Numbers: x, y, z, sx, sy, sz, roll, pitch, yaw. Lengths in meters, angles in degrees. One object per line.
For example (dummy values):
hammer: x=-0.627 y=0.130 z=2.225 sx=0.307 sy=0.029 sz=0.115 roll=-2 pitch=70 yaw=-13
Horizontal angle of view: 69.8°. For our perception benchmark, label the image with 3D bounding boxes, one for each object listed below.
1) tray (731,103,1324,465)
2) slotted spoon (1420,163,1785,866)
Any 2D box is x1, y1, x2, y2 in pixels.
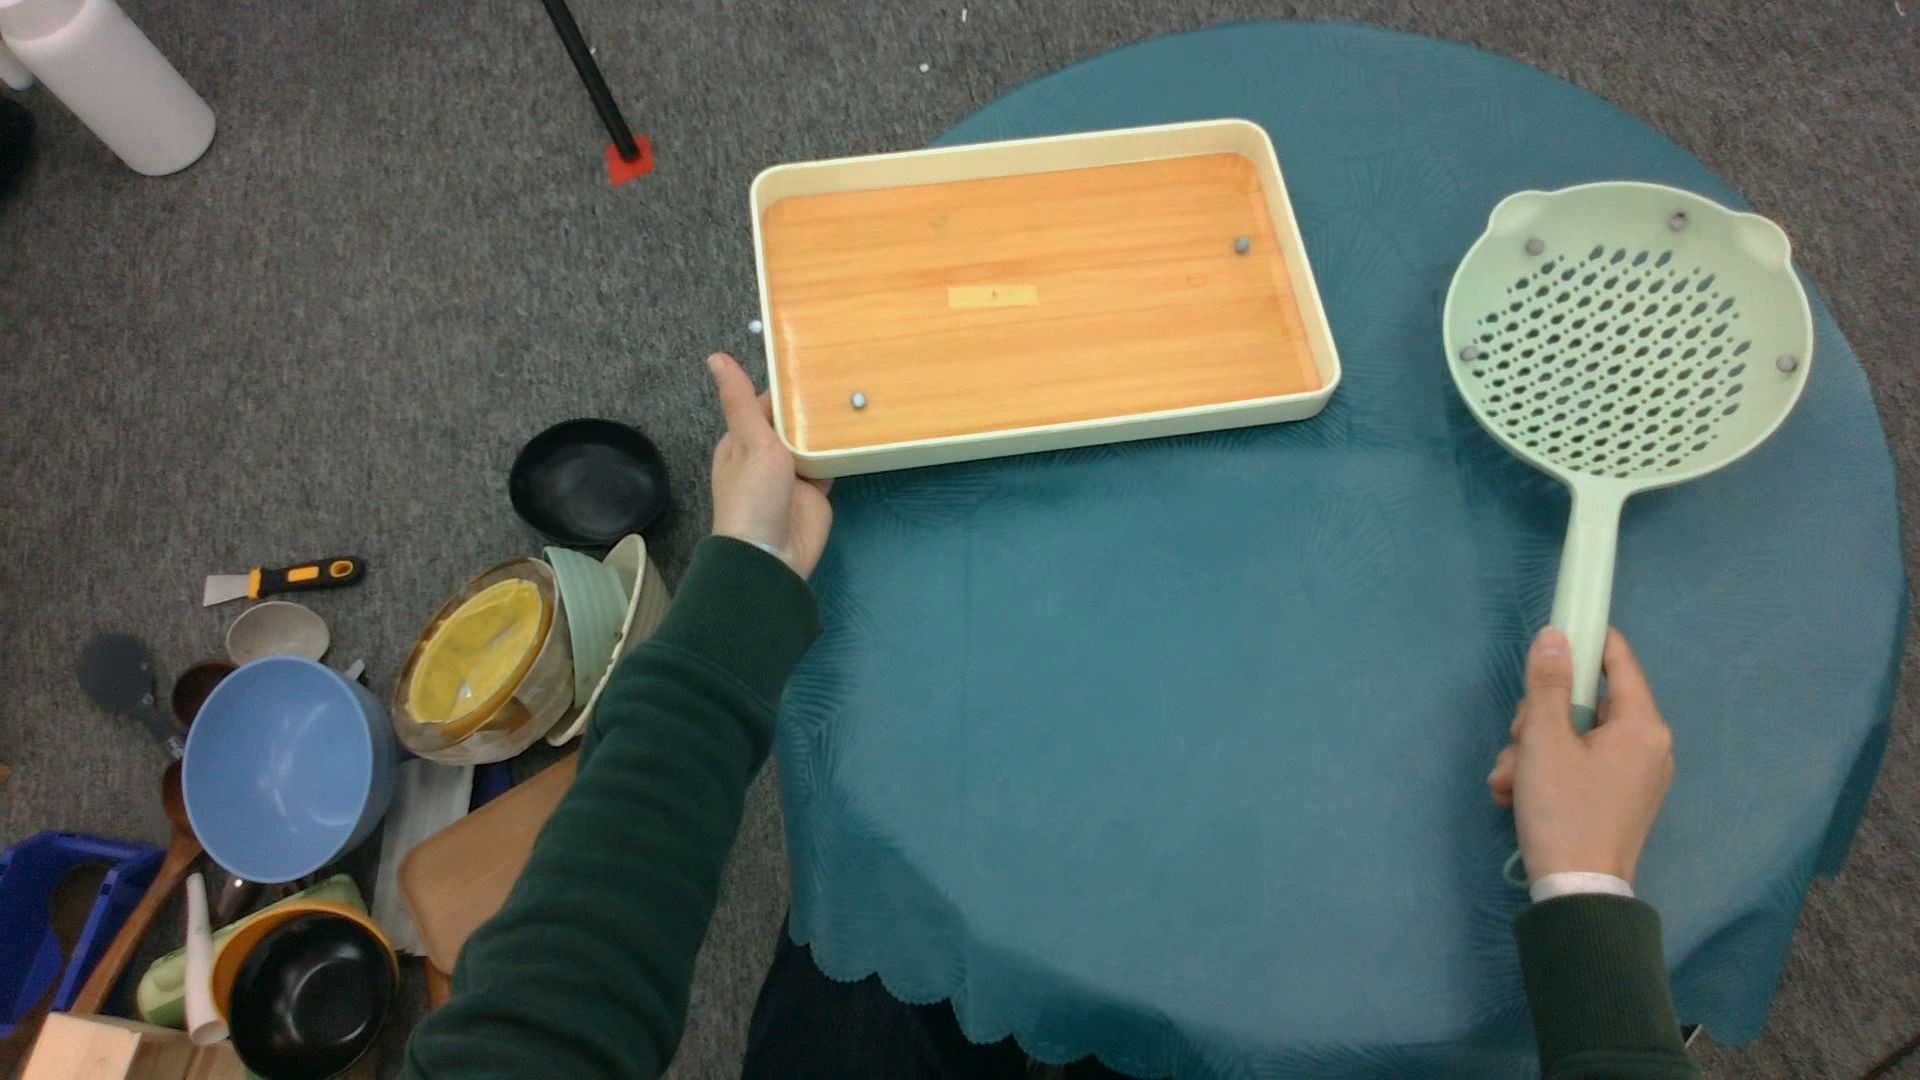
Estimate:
tray: x=0.033 y=-0.146 z=0.756 sx=0.300 sy=0.027 sz=0.192 roll=-8 pitch=65 yaw=-5
slotted spoon: x=0.296 y=-0.023 z=0.671 sx=0.169 sy=0.075 sz=0.360 roll=10 pitch=64 yaw=18
